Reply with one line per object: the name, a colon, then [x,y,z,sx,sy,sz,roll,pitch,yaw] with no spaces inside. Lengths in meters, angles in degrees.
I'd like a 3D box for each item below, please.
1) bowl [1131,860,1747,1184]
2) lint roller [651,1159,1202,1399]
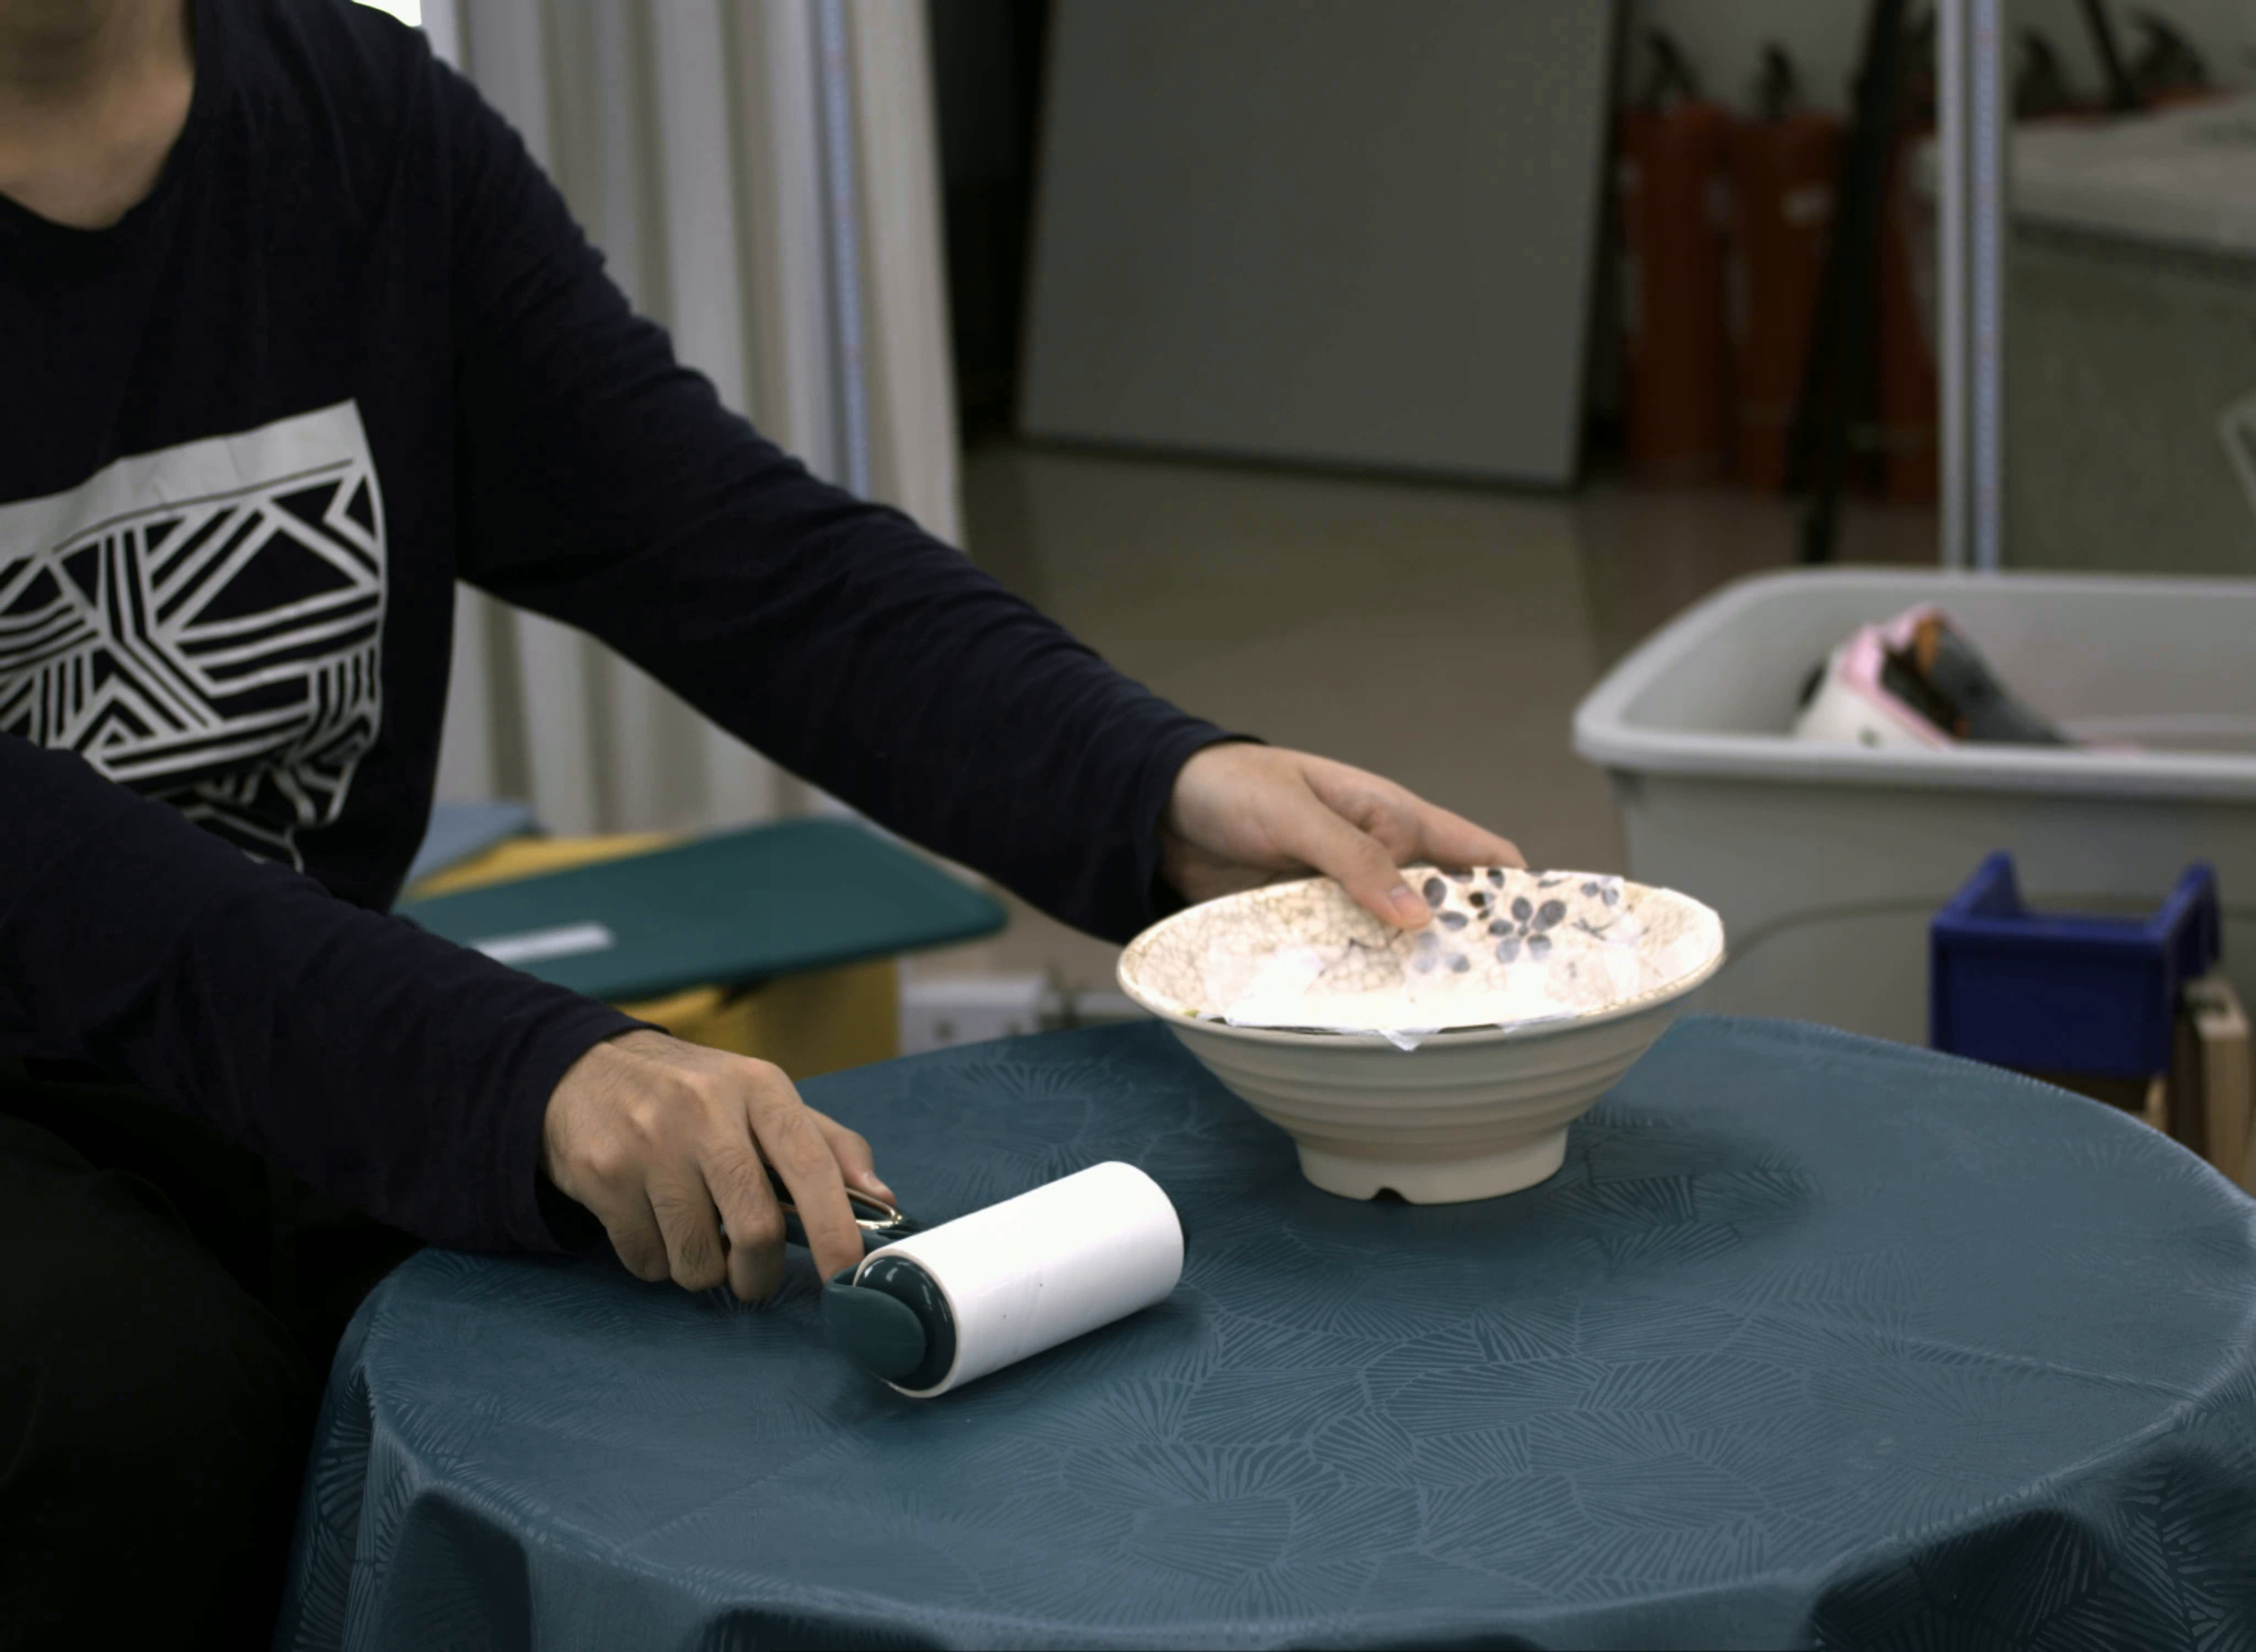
bowl: [0.102,0.069,1.769,0.201,0.079,0.204,-1,11,-1]
lint roller: [-0.082,0.122,1.665,0.182,0.049,0.131,16,23,41]
